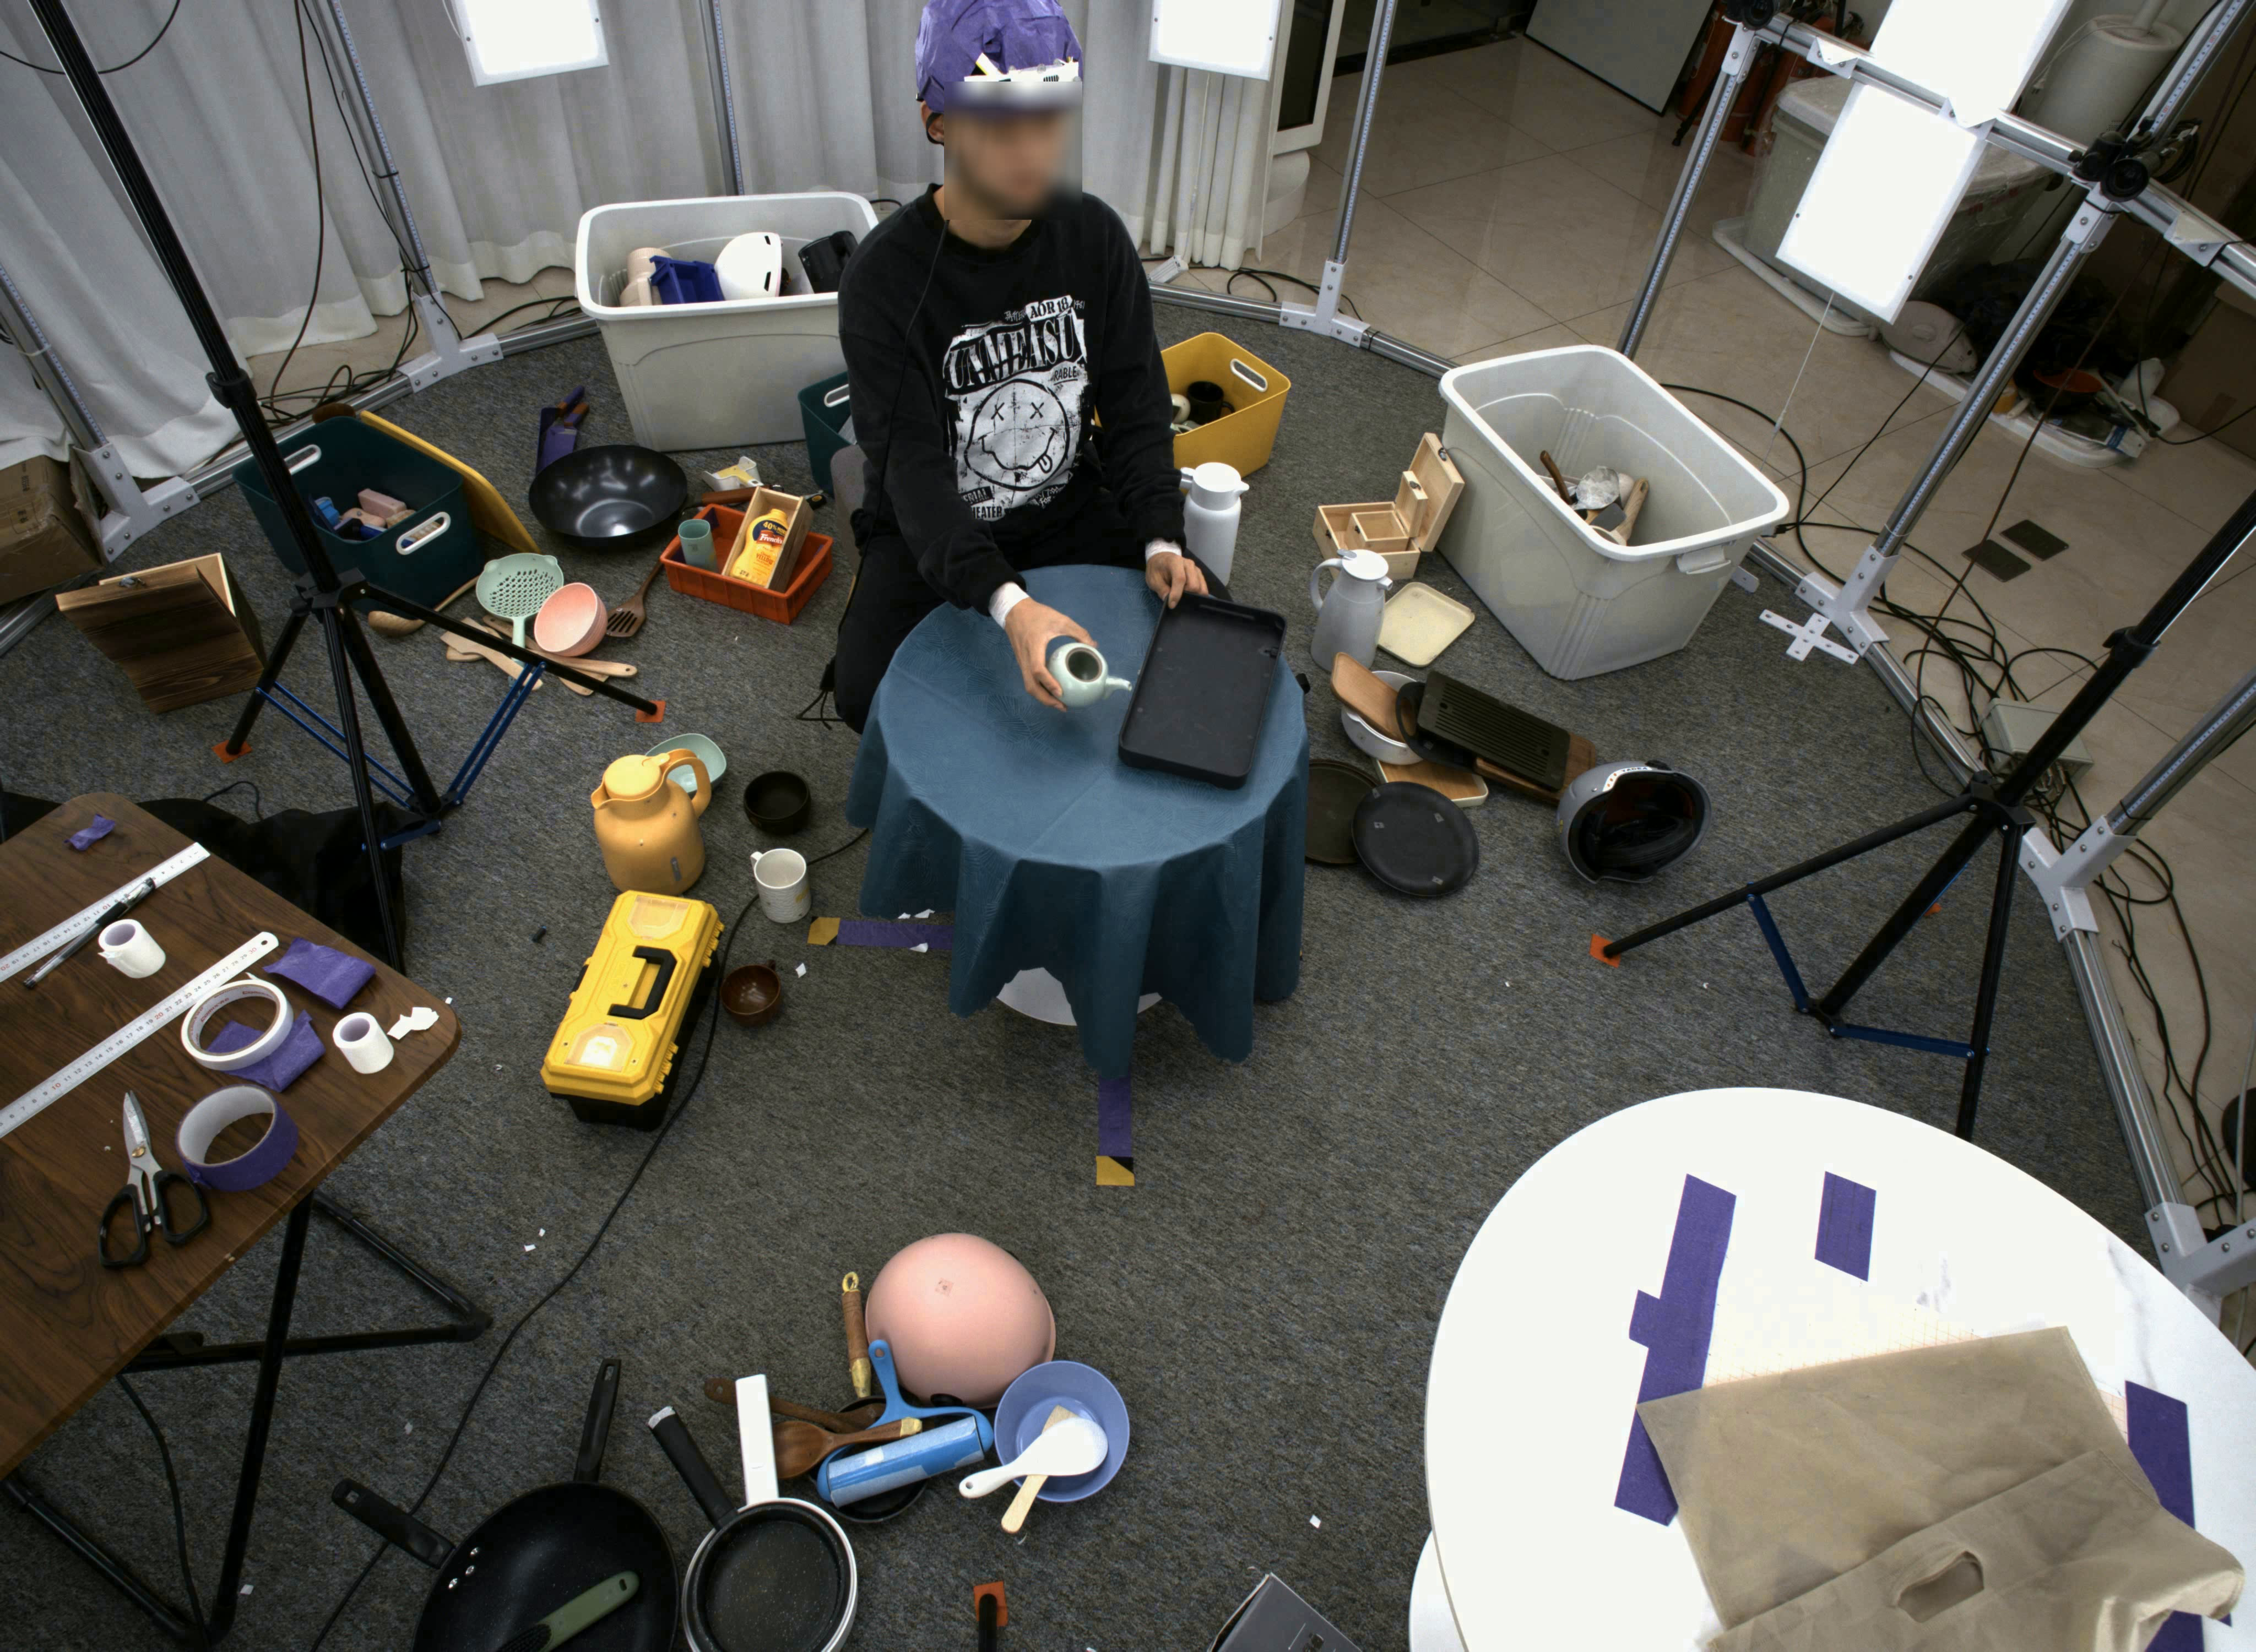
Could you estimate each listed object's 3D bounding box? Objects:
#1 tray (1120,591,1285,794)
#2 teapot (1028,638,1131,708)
[{"bbox_3d":[0.107,-0.193,1.802,0.184,0.036,0.325,13,54,4],"label":"tray"},{"bbox_3d":[-0.070,-0.203,1.730,0.143,0.073,0.090,27,59,-9],"label":"teapot"}]
